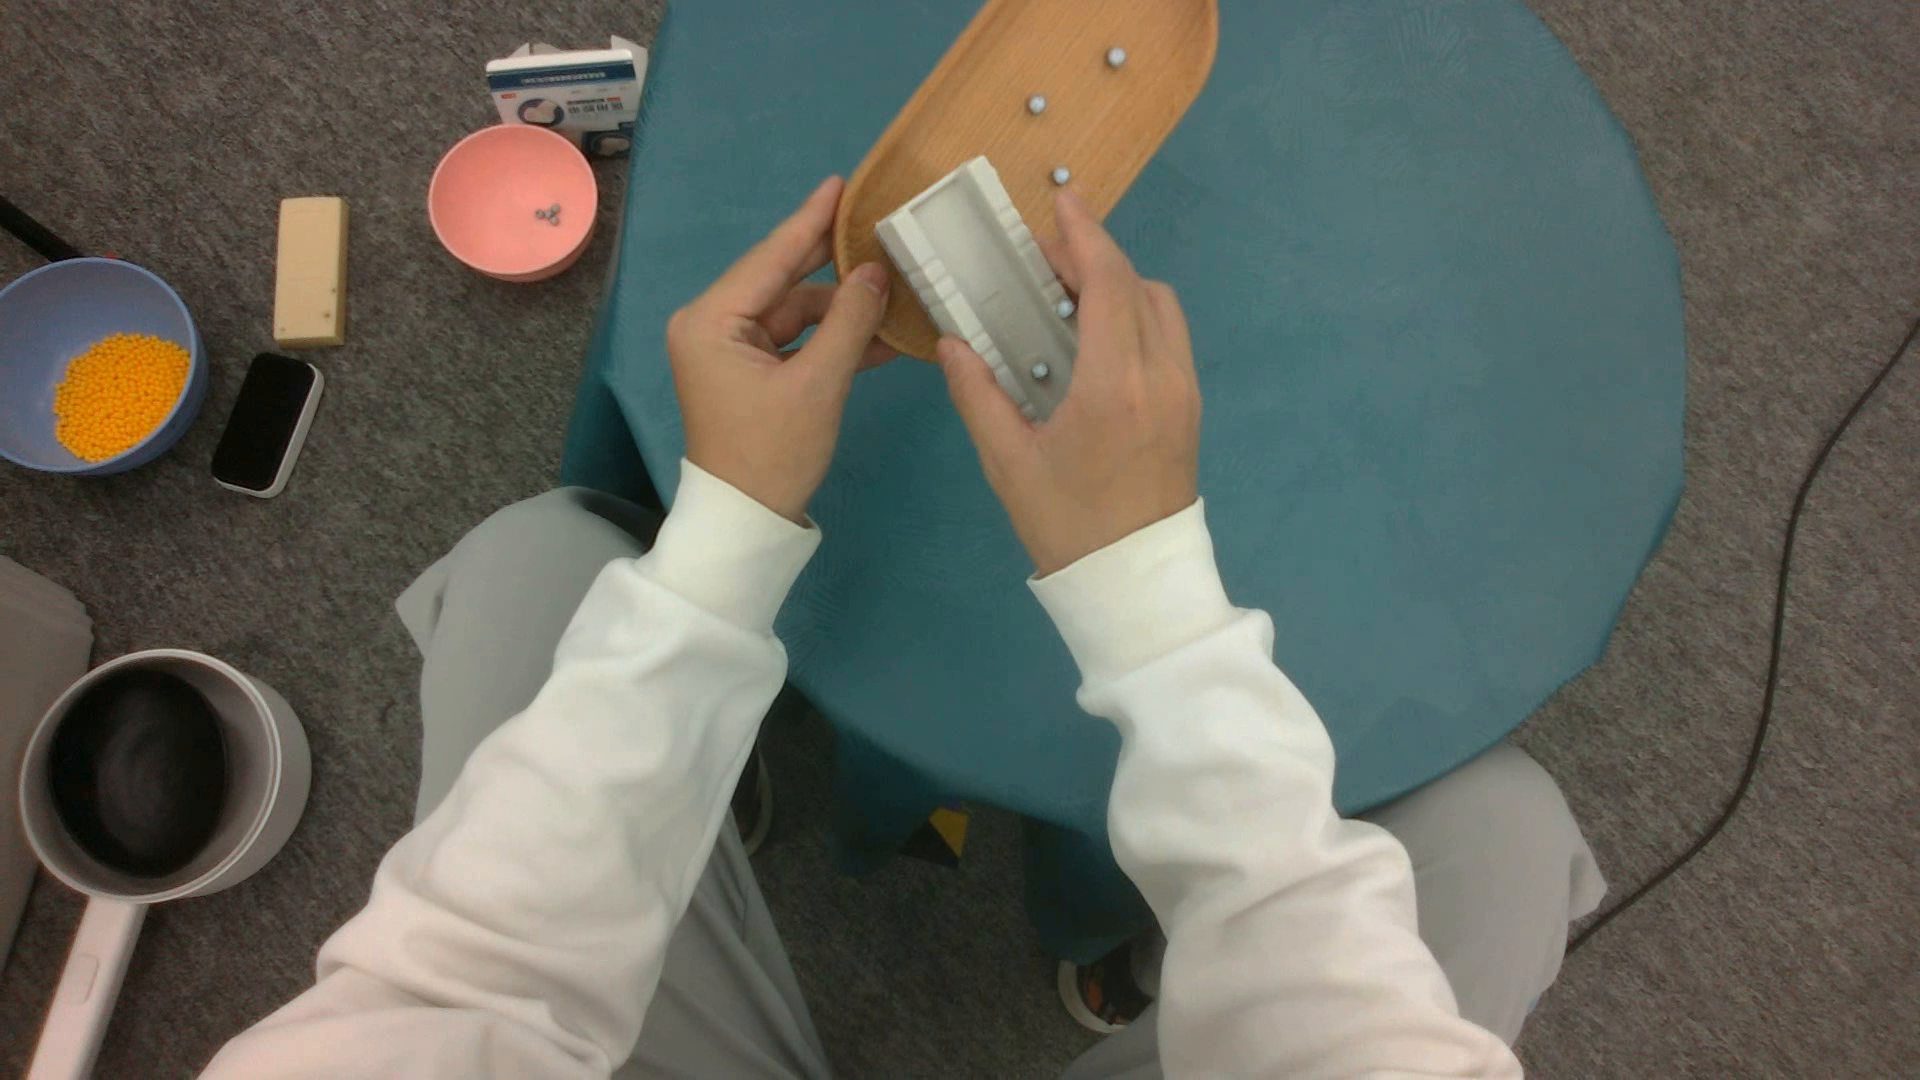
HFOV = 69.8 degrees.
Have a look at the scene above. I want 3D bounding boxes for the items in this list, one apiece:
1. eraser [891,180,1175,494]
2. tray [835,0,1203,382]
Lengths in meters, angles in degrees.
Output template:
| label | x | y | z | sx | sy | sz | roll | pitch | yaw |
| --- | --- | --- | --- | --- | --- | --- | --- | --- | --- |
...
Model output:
| label | x | y | z | sx | sy | sz | roll | pitch | yaw |
| --- | --- | --- | --- | --- | --- | --- | --- | --- | --- |
| eraser | 0.031 | -0.087 | 0.605 | 0.050 | 0.046 | 0.134 | -40 | 103 | -7 |
| tray | 0.029 | -0.176 | 0.627 | 0.101 | 0.020 | 0.231 | 37 | 86 | -24 |
